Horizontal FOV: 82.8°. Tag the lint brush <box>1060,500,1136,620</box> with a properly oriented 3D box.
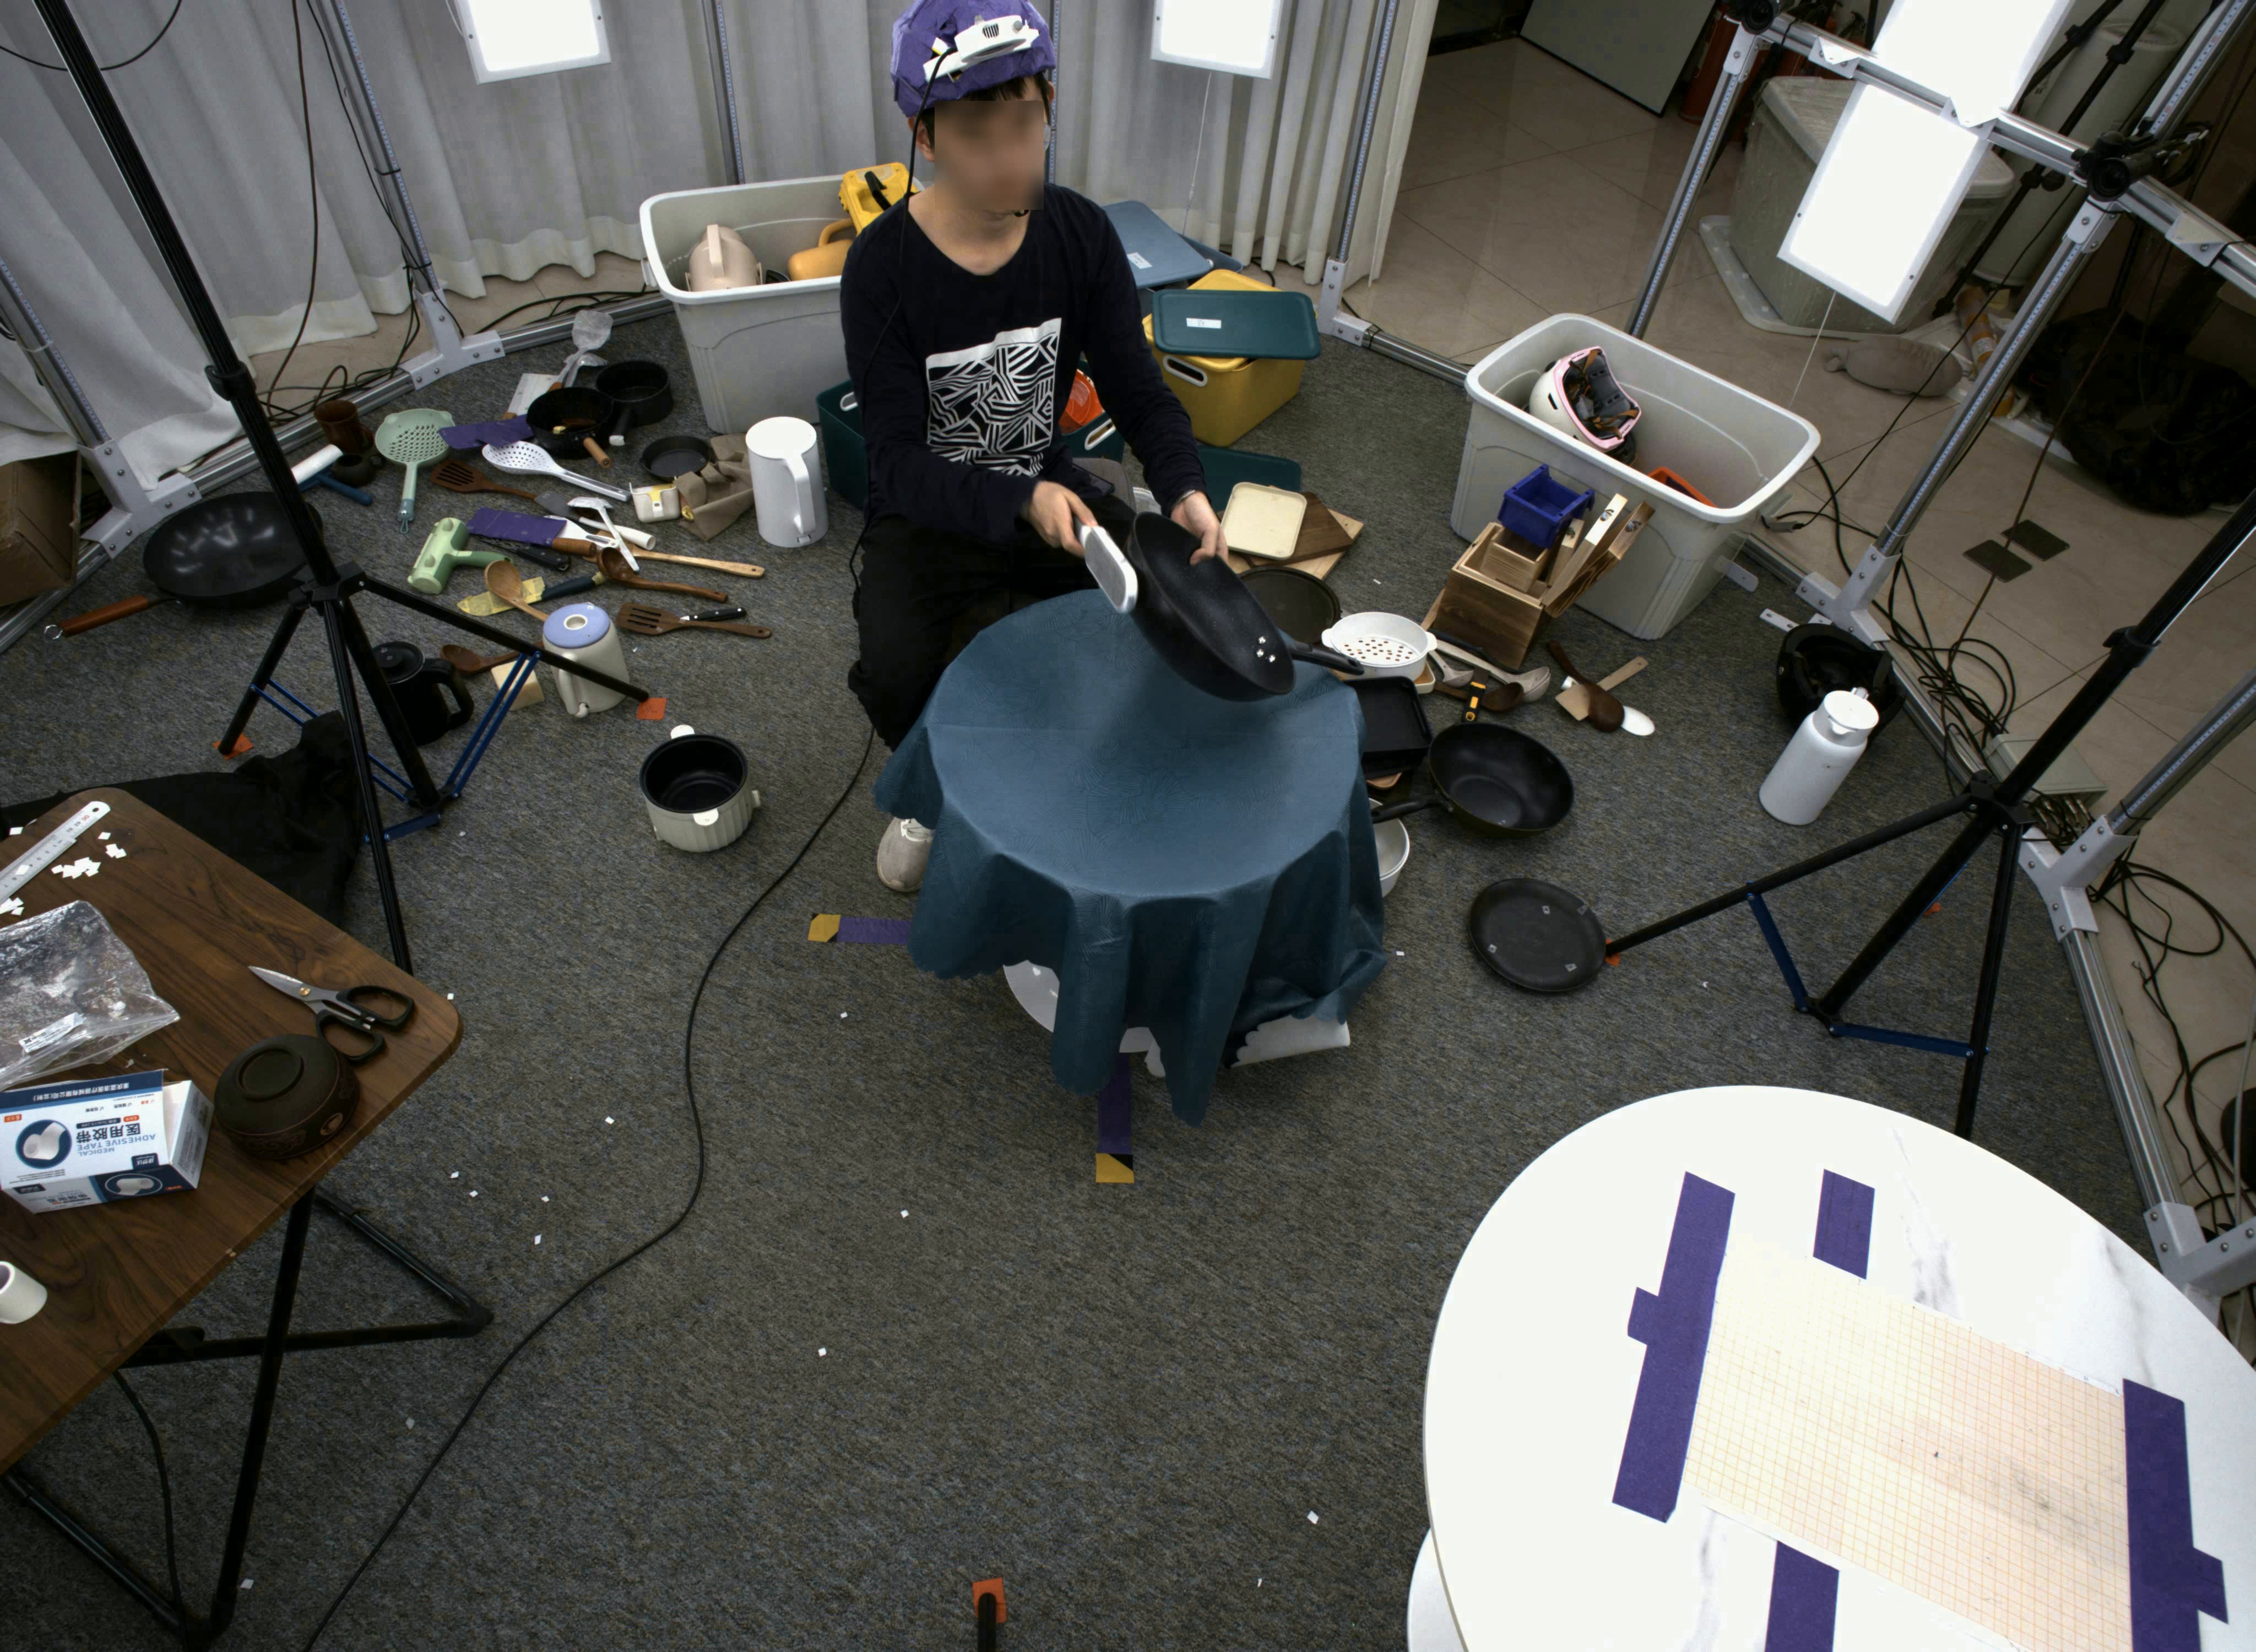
[{"bbox_3d":[-0.042,-0.357,1.684,0.021,0.059,0.316,-5,37,-17],"label":"lint brush"}]

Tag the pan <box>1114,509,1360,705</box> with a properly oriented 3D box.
[{"bbox_3d":[0.146,-0.260,1.757,0.470,0.110,0.317,19,41,-44],"label":"pan"}]
